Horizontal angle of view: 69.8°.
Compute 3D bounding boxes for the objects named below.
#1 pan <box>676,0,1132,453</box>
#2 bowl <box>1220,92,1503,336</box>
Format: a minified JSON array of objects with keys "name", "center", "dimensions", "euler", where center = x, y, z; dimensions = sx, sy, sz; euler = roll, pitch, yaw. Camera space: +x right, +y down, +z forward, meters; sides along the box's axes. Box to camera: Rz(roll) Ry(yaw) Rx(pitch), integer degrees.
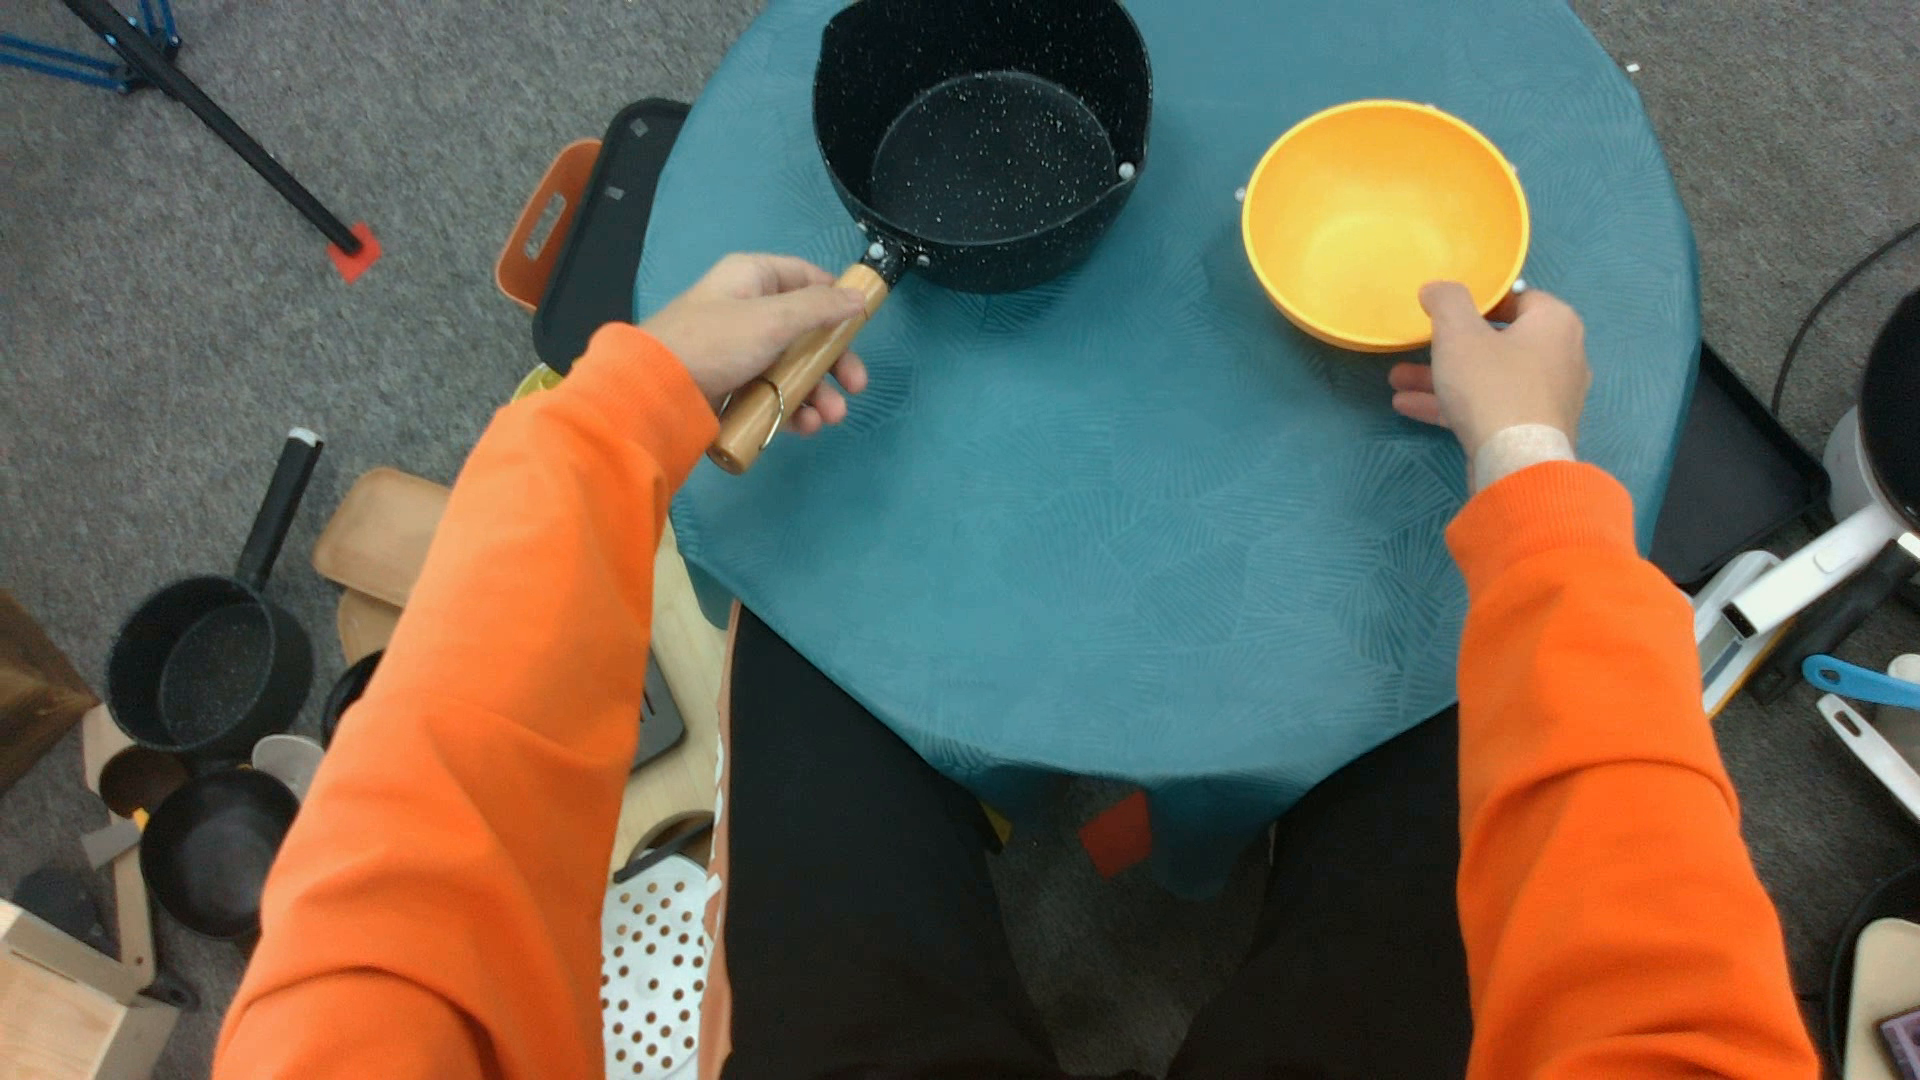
[{"name":"pan","center":[-0.037,-0.172,0.750],"dimensions":[0.207,0.108,0.344],"euler":[27,75,12]},{"name":"bowl","center":[0.214,-0.167,0.751],"dimensions":[0.145,0.060,0.146],"euler":[-2,71,6]}]
